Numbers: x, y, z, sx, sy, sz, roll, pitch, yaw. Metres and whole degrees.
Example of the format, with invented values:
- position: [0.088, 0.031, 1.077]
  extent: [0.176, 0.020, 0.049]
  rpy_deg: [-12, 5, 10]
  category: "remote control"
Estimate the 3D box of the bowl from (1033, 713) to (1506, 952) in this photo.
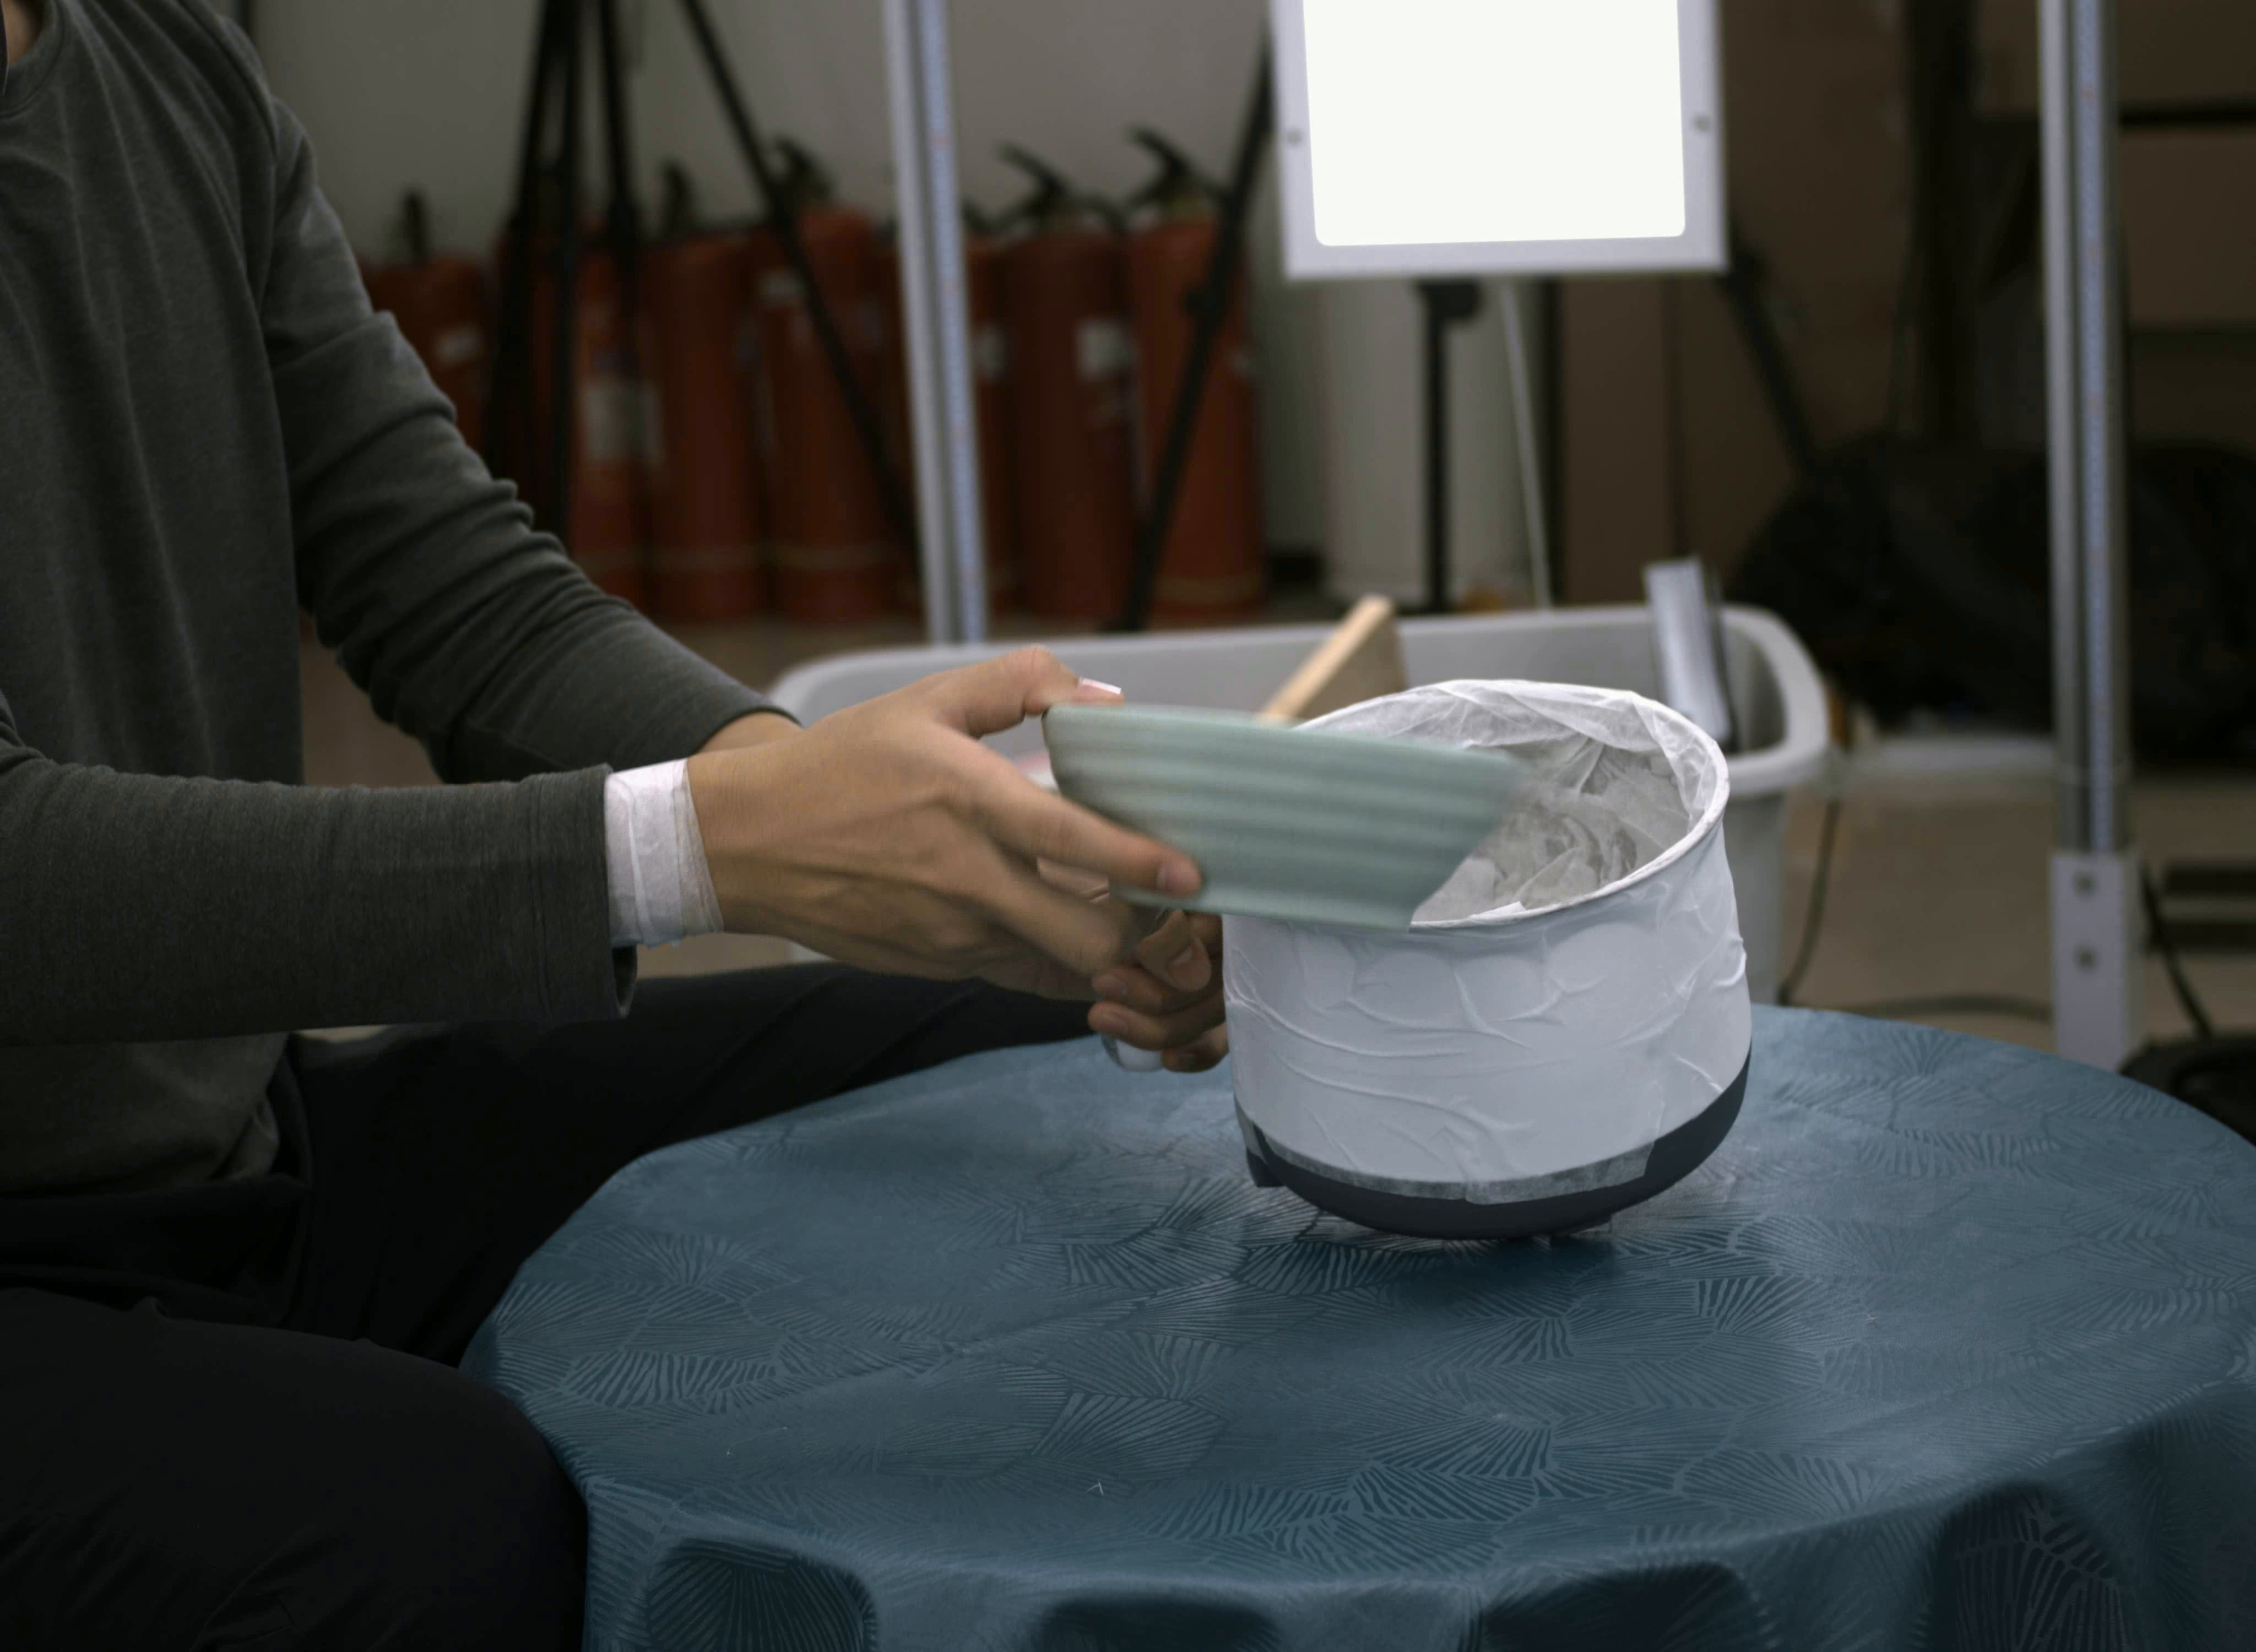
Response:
- position: [0.040, 0.003, 1.680]
  extent: [0.151, 0.059, 0.151]
  rpy_deg: [7, 1, -2]
  category: "bowl"

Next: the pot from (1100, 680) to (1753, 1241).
- position: [0.095, 0.045, 1.859]
  extent: [0.237, 0.137, 0.175]
  rpy_deg: [5, 29, 26]
  category: "pot"
